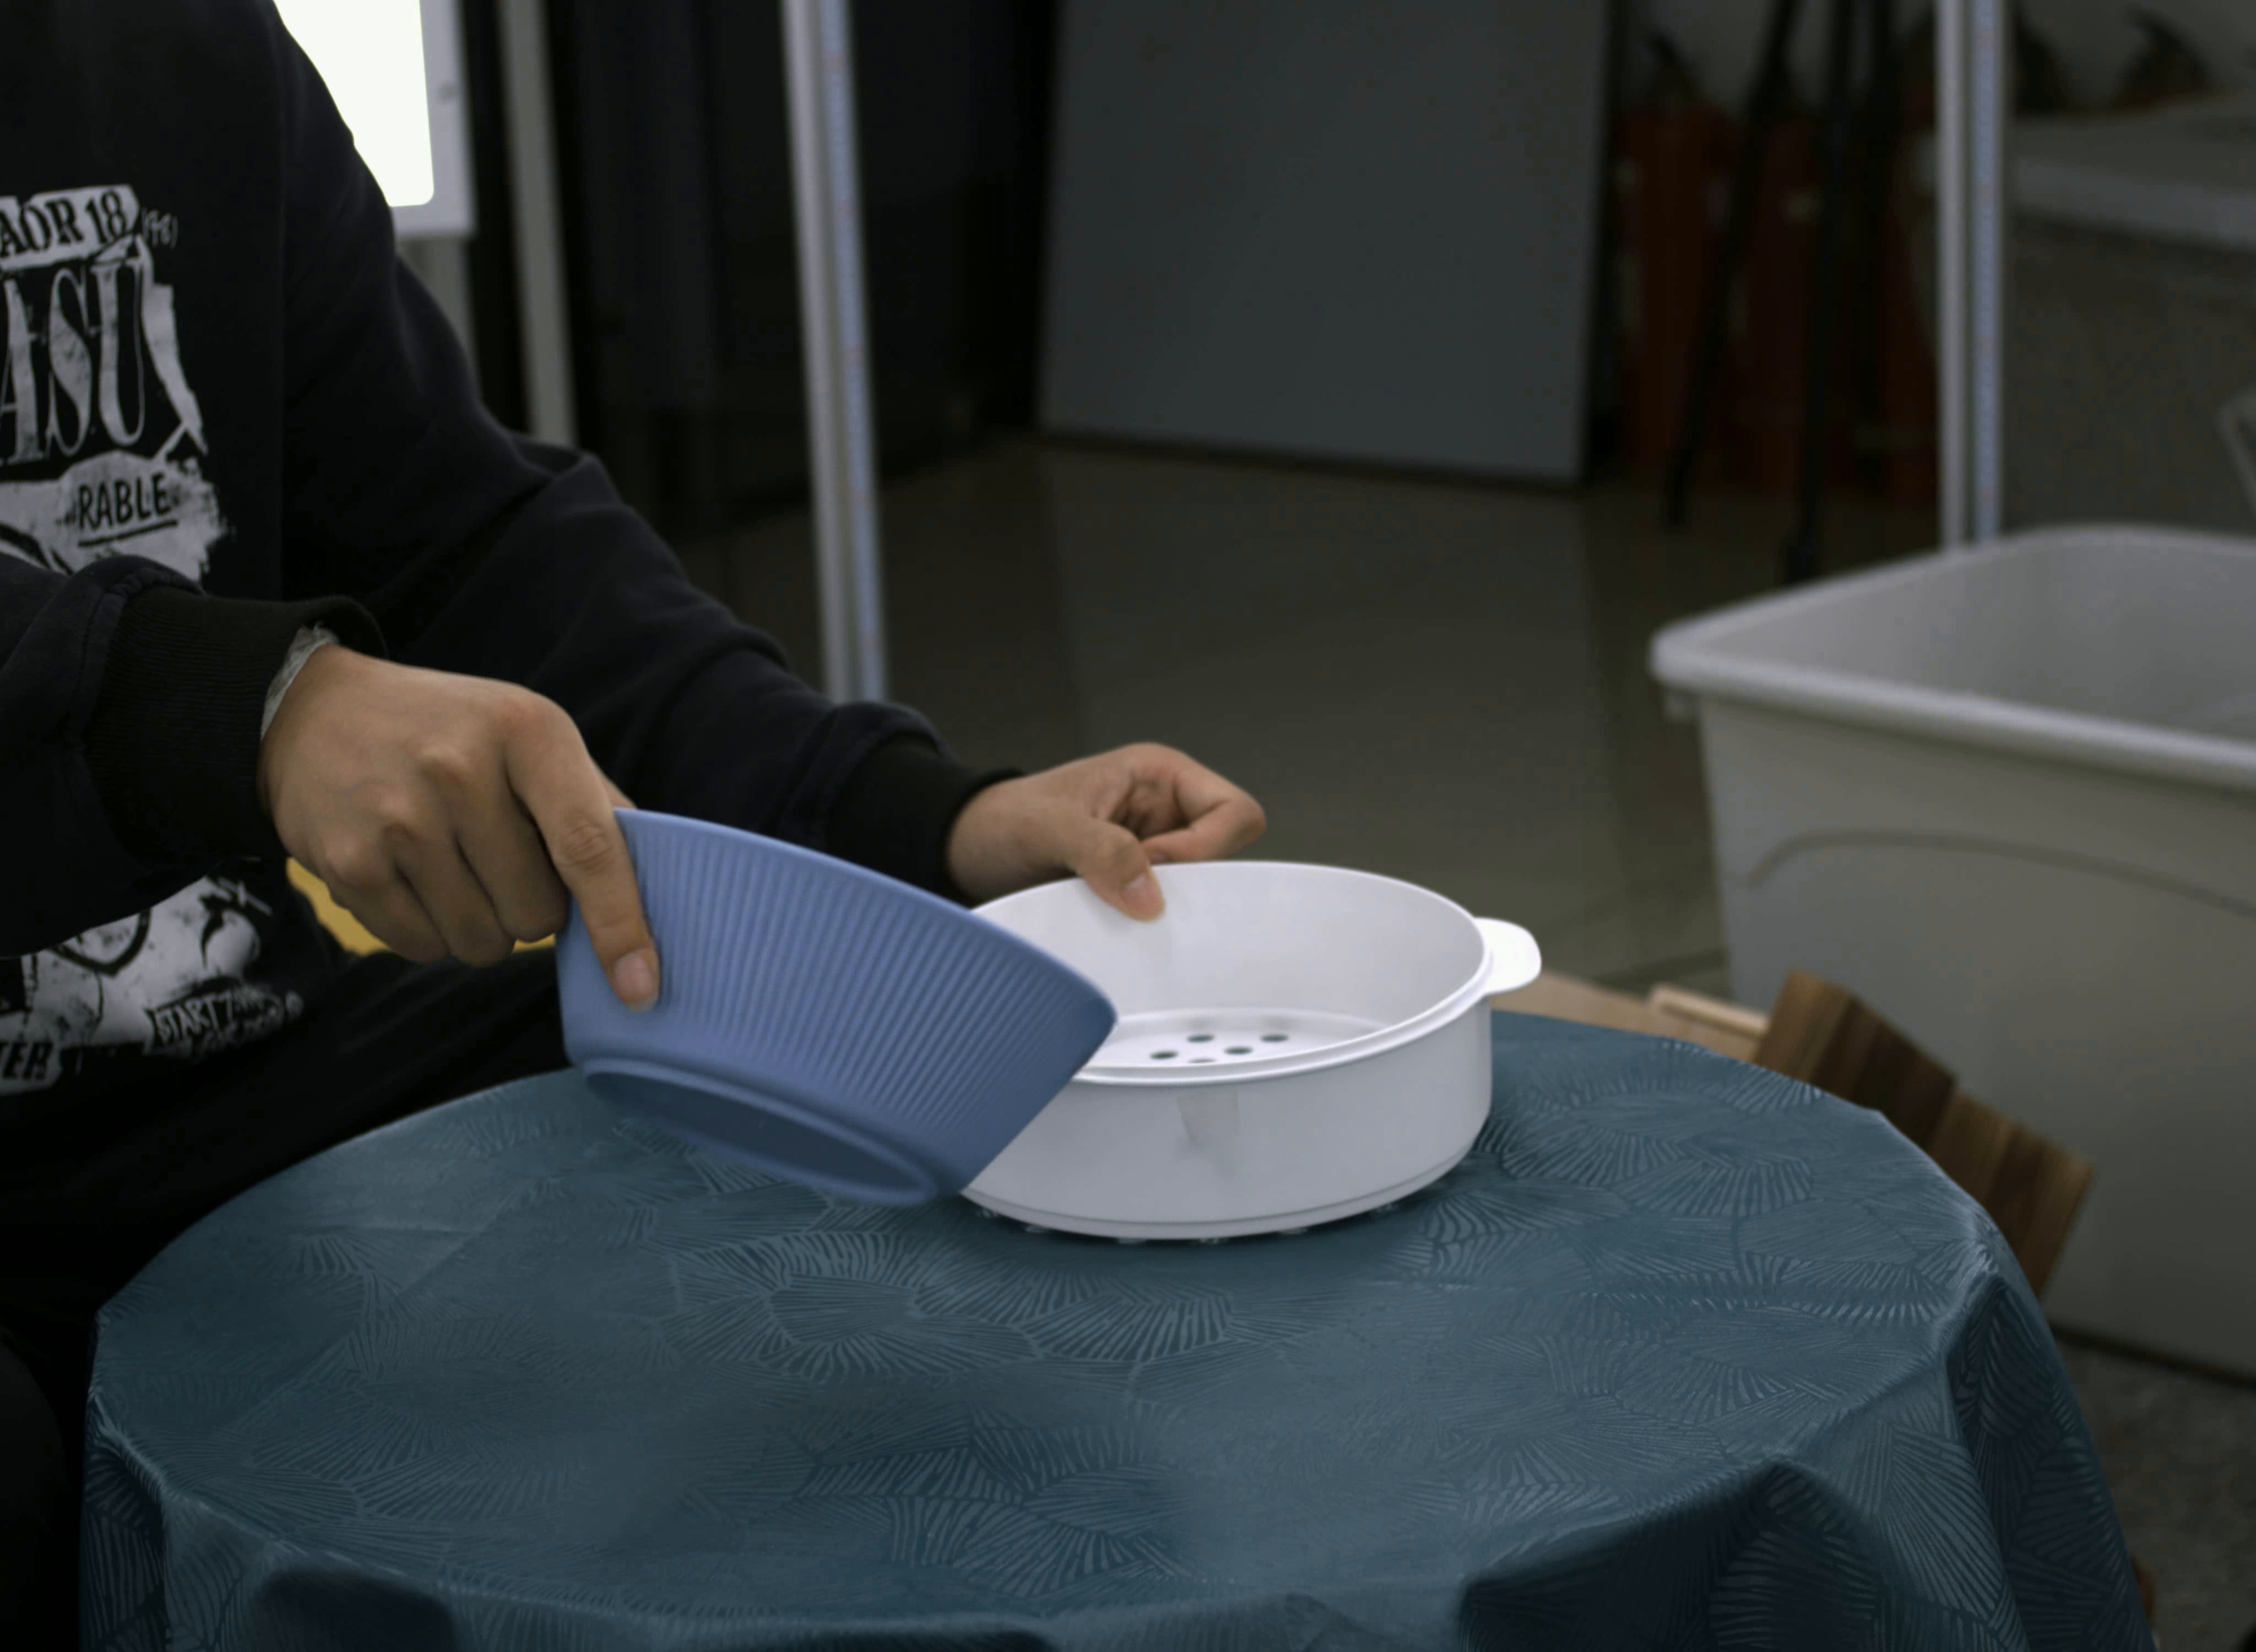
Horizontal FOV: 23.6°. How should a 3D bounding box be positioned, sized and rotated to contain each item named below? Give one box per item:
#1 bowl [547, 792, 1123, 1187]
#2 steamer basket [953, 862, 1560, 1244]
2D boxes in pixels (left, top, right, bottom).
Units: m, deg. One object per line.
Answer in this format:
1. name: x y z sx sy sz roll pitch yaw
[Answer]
1. bowl: -0.093 0.053 1.547 0.174 0.071 0.176 18 -14 3
2. steamer basket: 0.030 0.075 1.790 0.227 0.070 0.202 -2 18 1
